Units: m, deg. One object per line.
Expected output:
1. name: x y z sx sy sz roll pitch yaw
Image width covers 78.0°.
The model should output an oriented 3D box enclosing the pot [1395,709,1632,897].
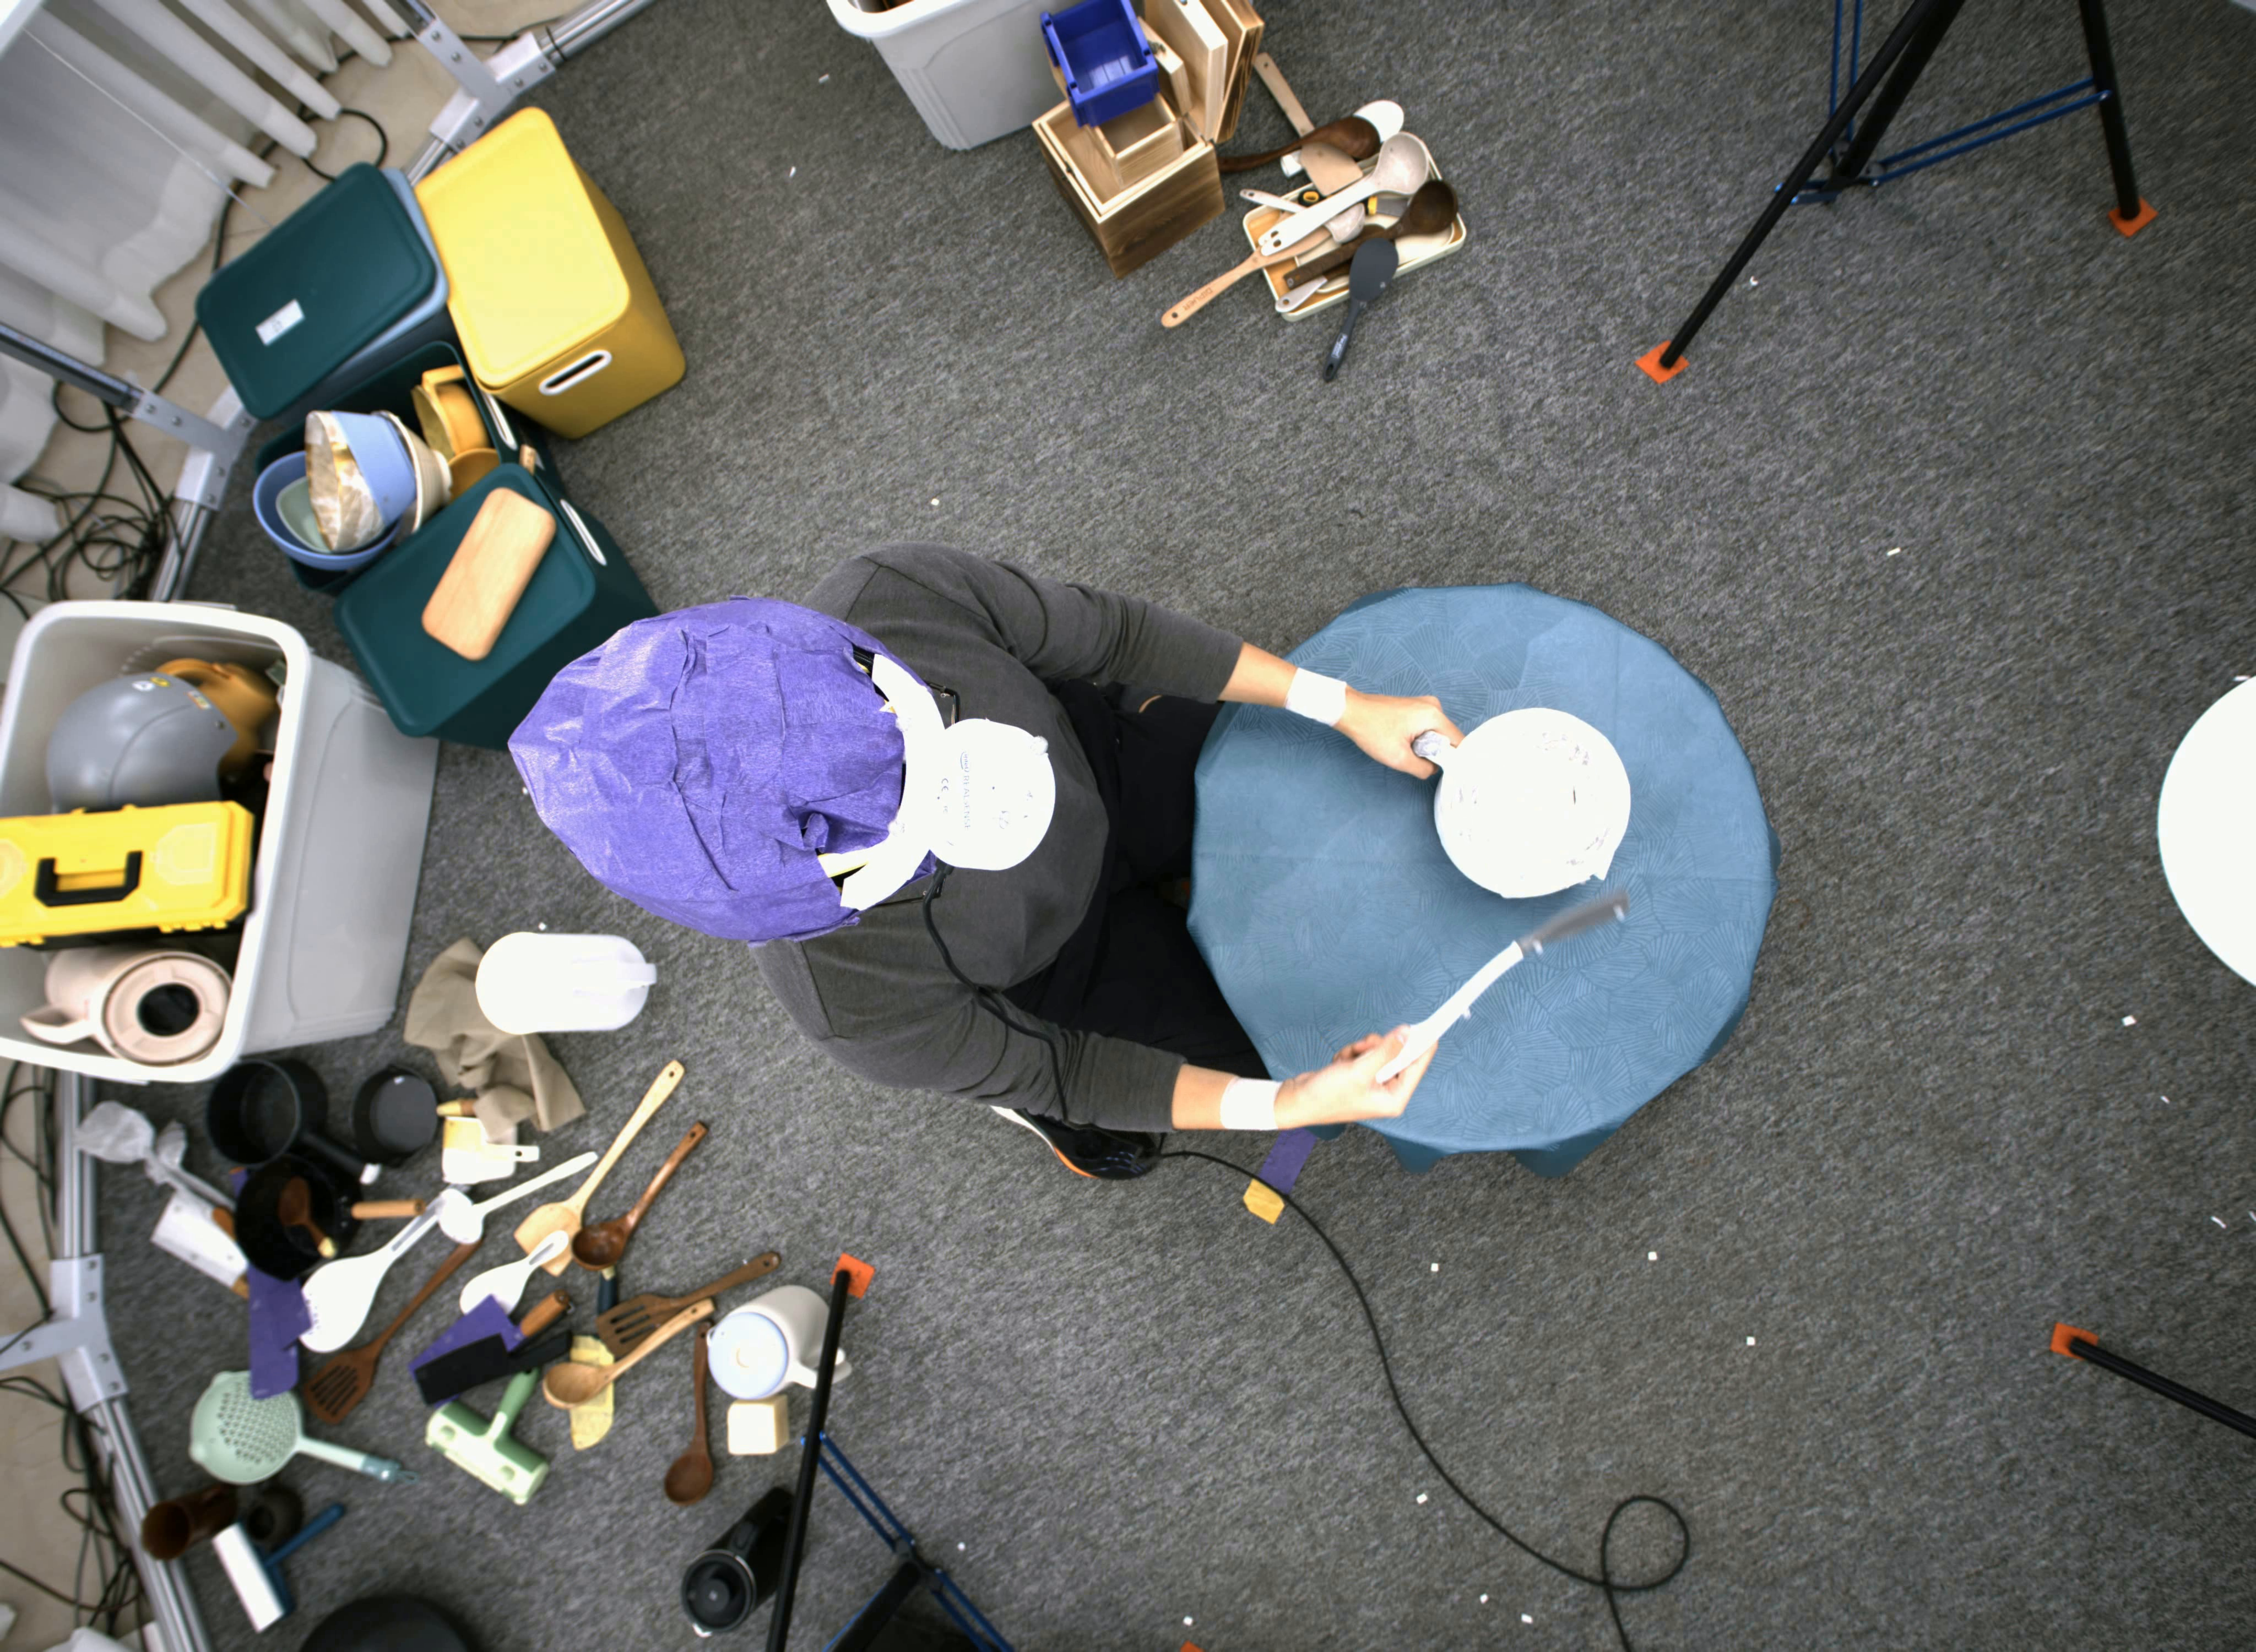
1. pot: 0.375 -0.035 1.375 0.233 0.137 0.179 30 91 10

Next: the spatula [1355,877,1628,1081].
1. spatula: 0.329 0.131 1.243 0.288 0.059 0.031 -37 50 4
